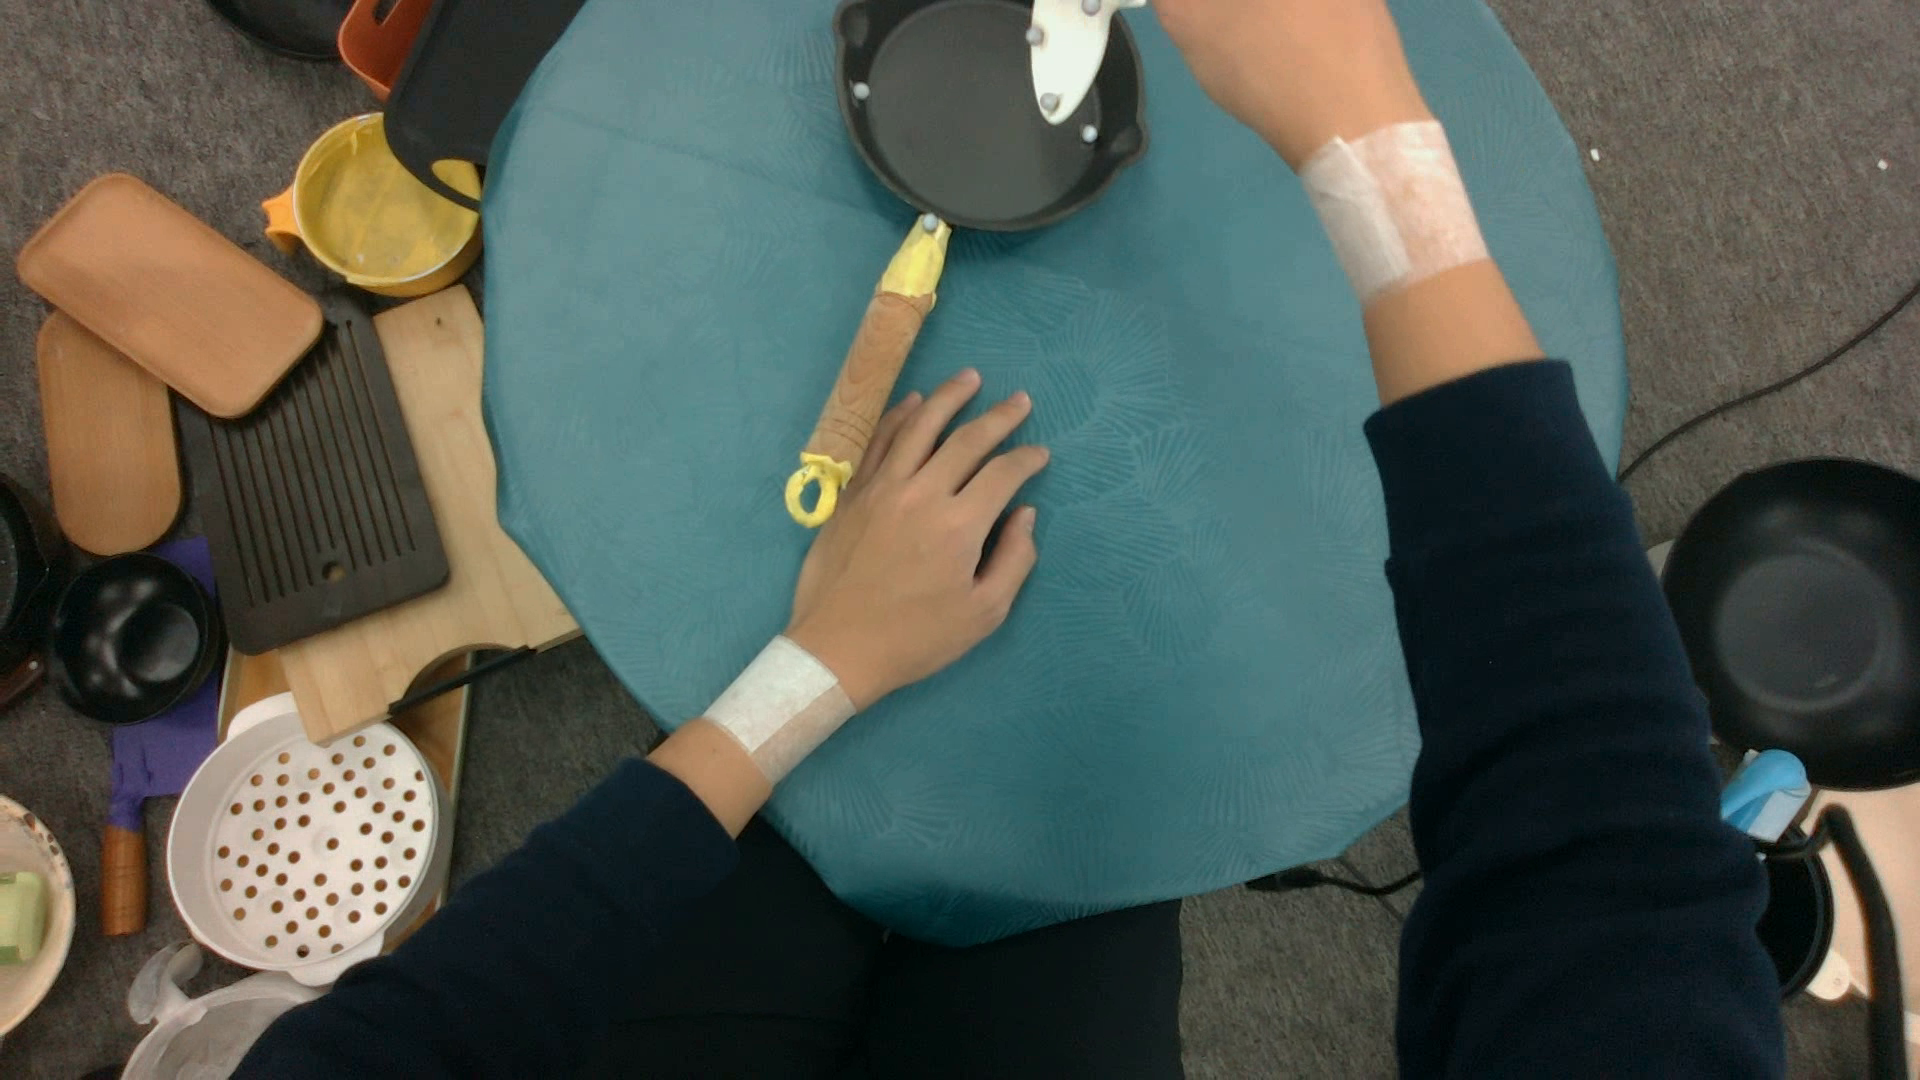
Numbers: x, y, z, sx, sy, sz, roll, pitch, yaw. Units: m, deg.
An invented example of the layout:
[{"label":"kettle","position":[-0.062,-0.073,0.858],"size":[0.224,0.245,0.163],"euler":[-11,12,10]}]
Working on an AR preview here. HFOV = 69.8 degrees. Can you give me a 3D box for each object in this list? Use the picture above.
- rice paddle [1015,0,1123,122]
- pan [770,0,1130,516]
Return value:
[{"label":"rice paddle","position":[0.053,-0.232,0.585],"size":[0.029,0.205,0.069],"euler":[-7,92,-16]},{"label":"pan","position":[-0.025,-0.158,0.681],"size":[0.169,0.049,0.325],"euler":[24,76,-4]}]
